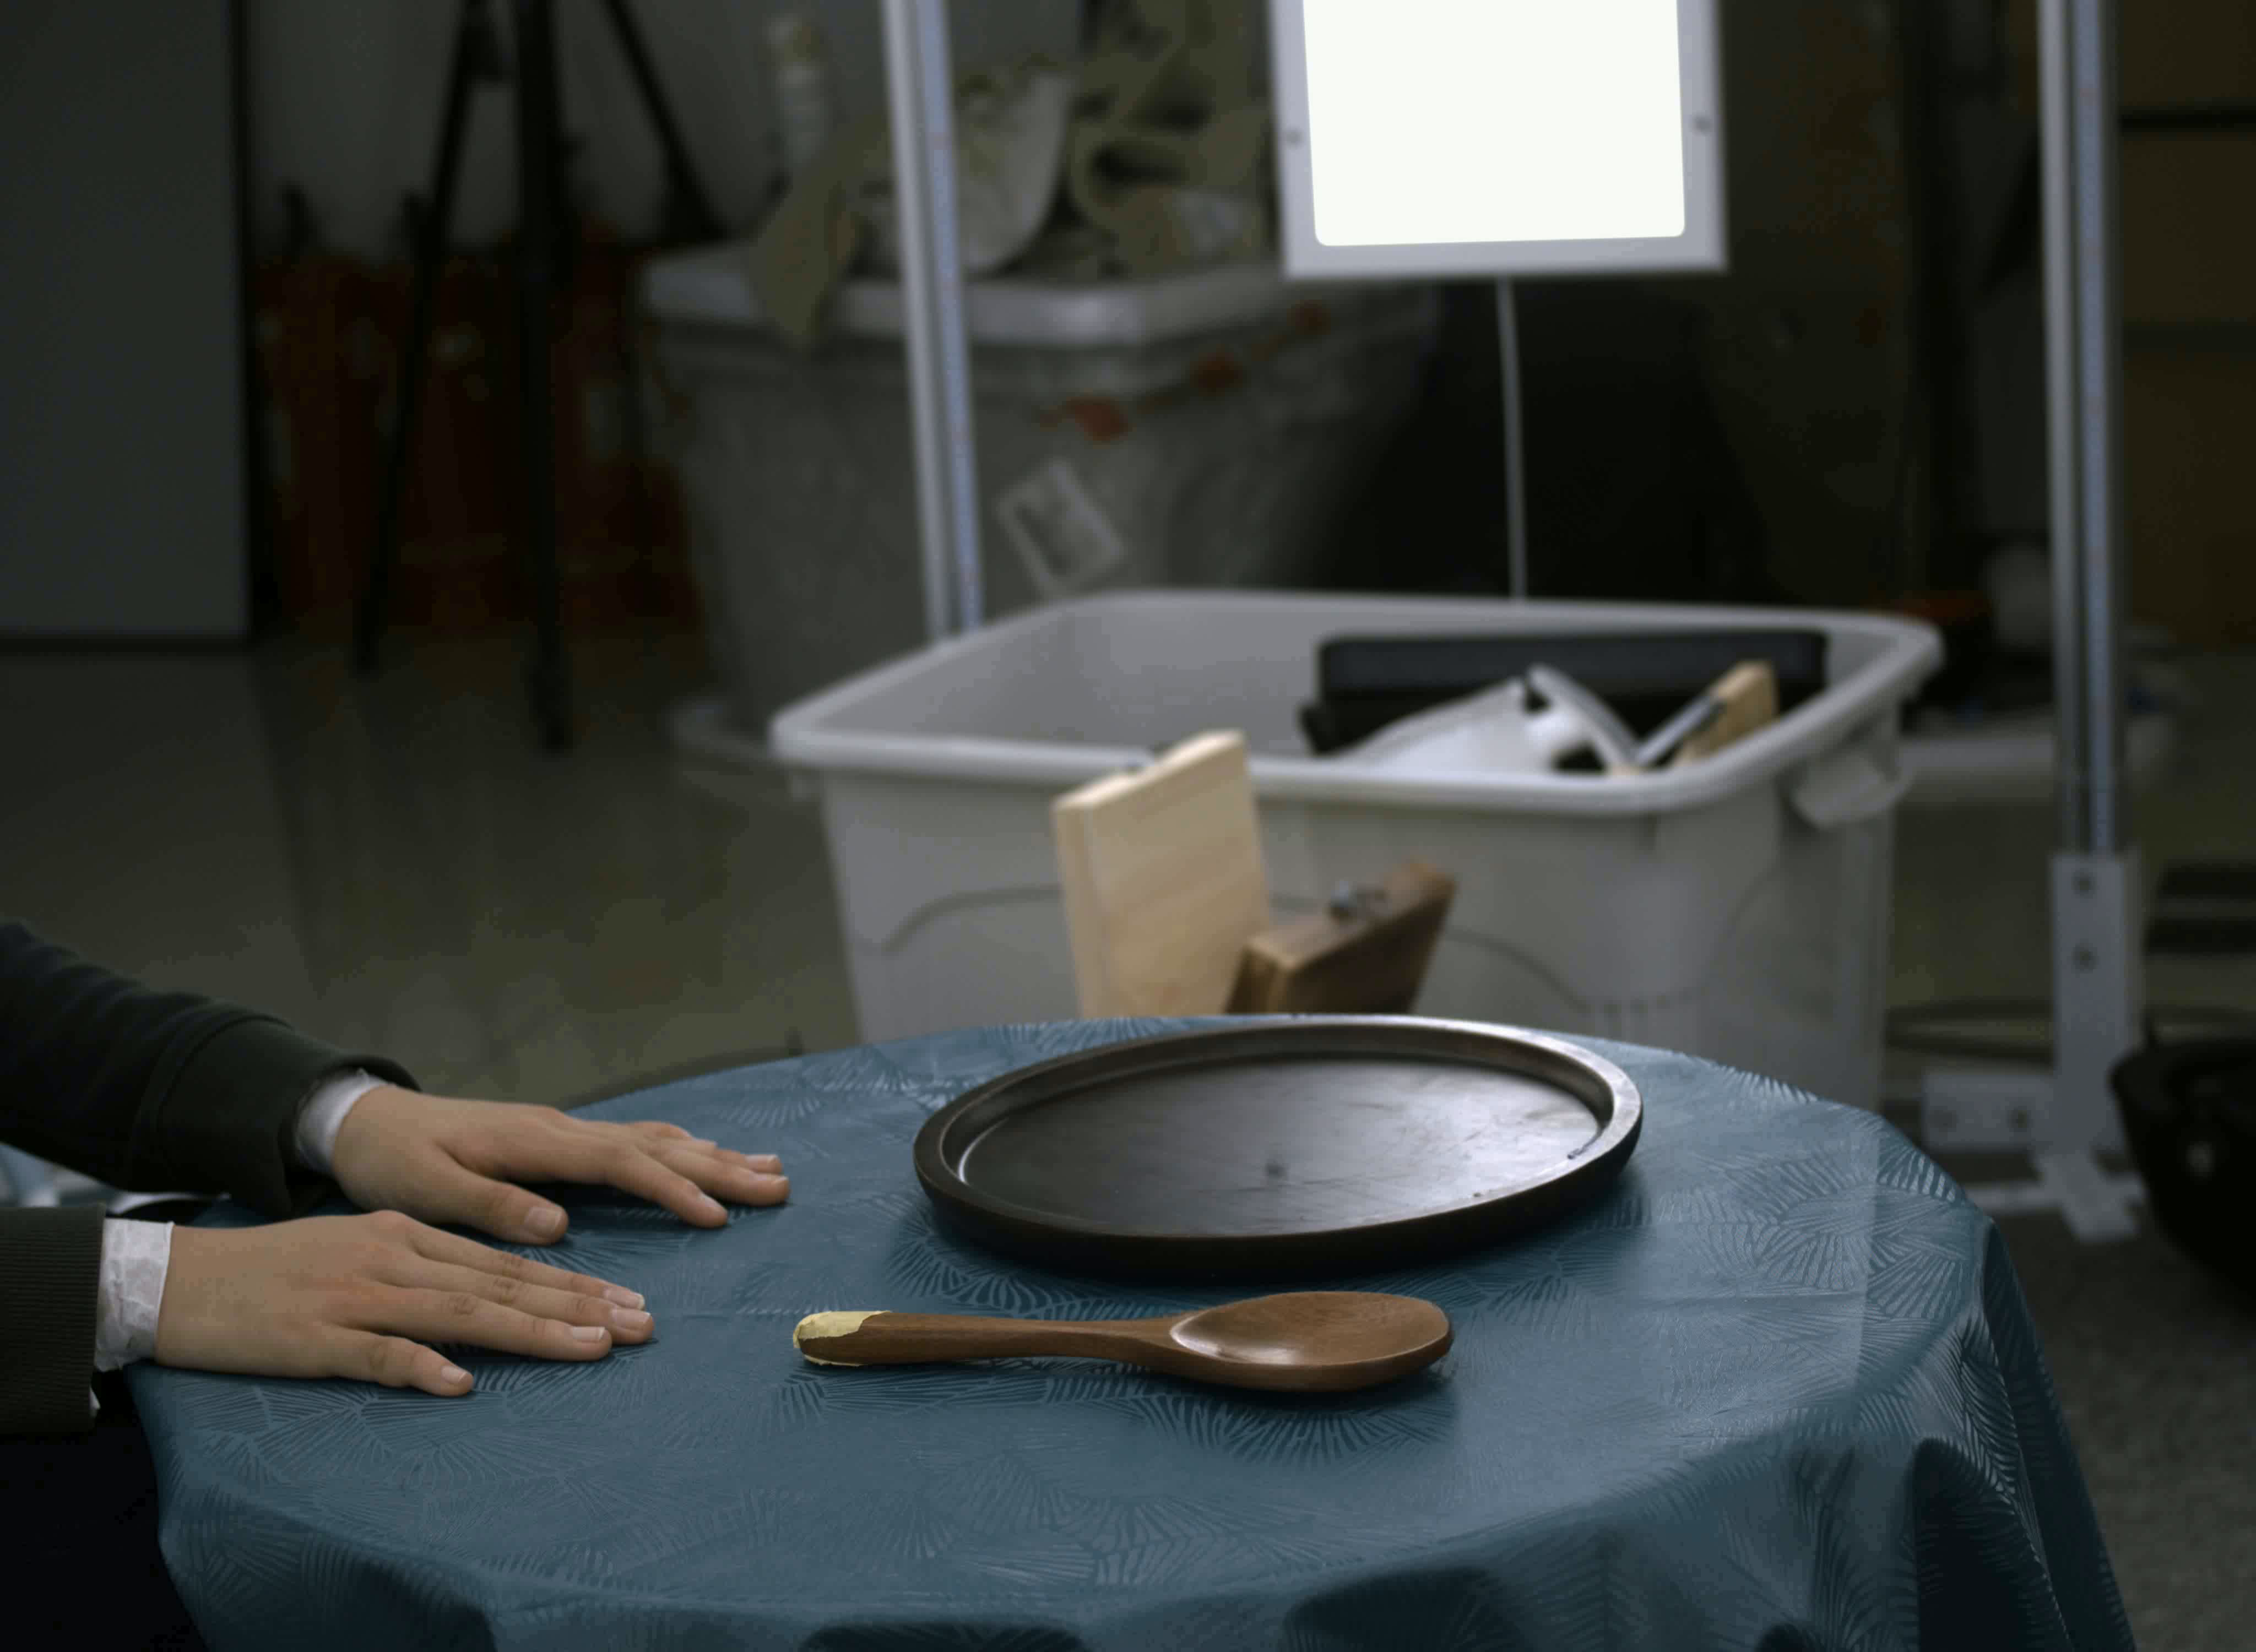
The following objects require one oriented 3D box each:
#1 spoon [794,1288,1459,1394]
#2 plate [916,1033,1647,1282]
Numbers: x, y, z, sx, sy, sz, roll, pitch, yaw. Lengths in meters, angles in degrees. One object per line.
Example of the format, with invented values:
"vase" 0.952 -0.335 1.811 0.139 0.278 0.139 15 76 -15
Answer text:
"spoon" -0.002 0.161 1.721 0.218 0.017 0.074 0 15 19
"plate" 0.053 0.111 1.895 0.254 0.029 0.254 -4 13 0
